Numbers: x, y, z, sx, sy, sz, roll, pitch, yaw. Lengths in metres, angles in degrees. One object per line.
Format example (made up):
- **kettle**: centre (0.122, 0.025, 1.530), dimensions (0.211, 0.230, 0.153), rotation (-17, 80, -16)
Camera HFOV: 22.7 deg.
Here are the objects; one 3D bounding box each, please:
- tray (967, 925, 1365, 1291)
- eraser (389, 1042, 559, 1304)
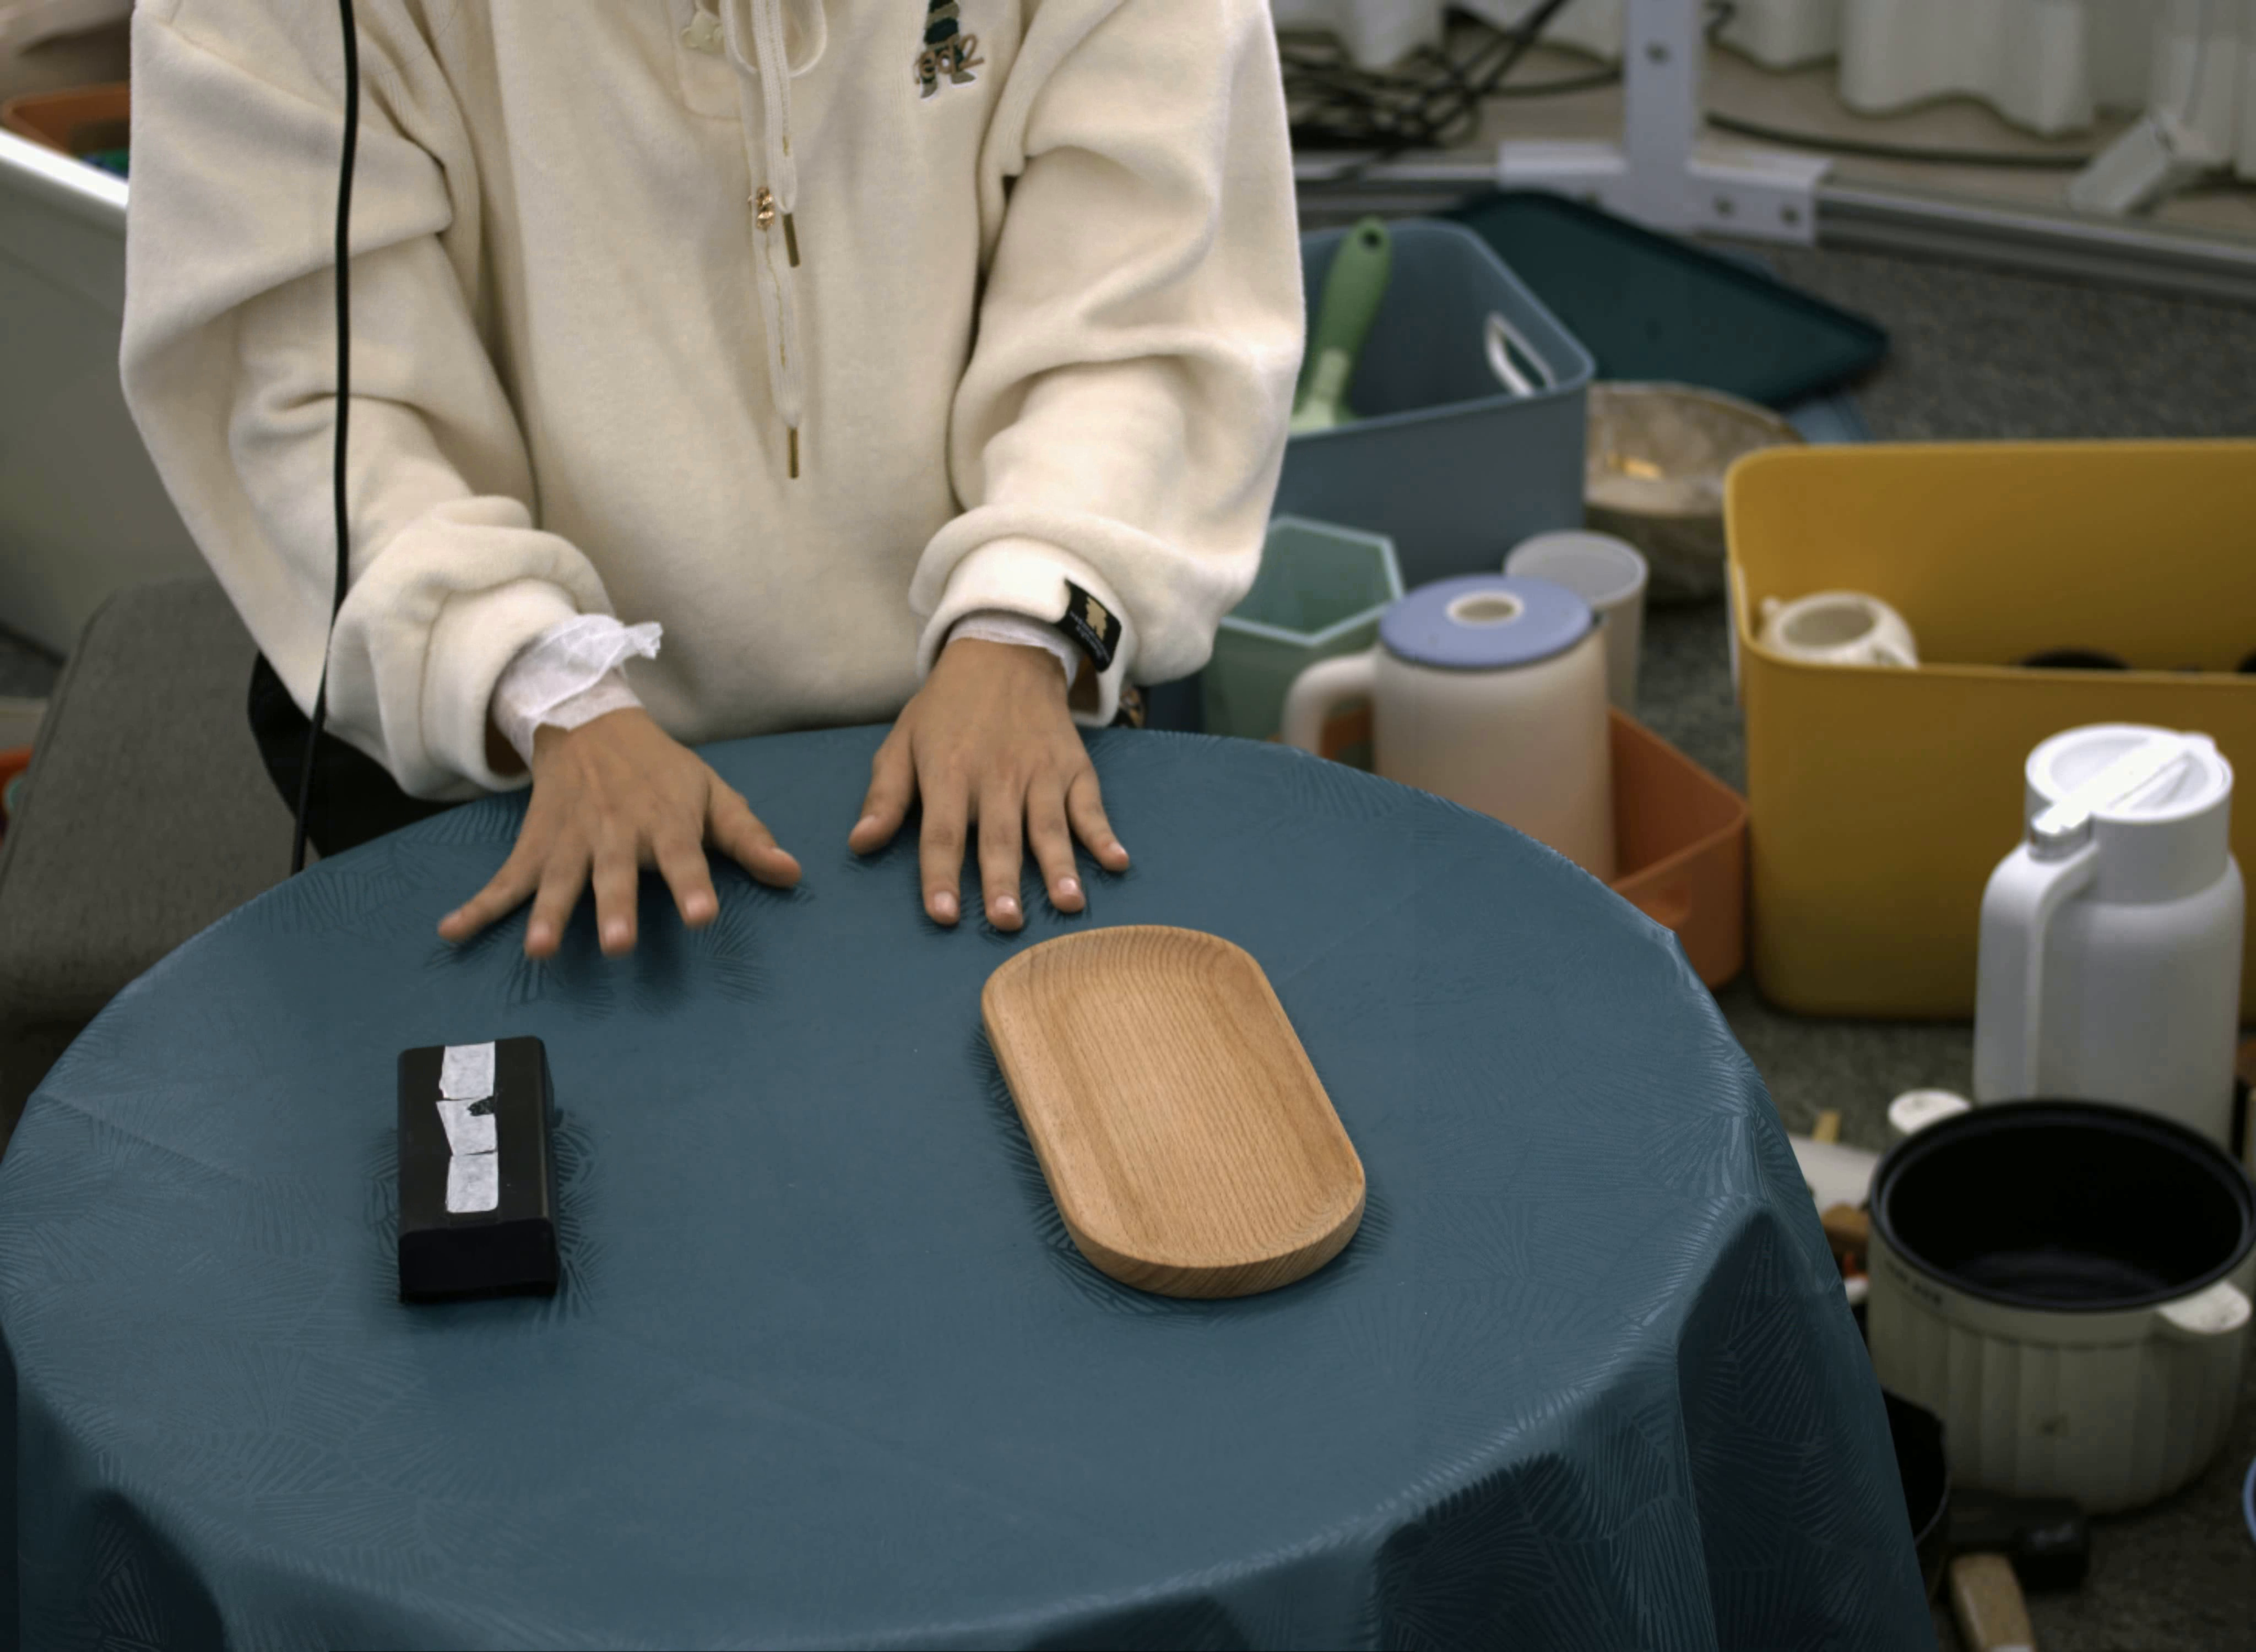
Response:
- **tray**: centre (0.011, 0.093, 1.898), dimensions (0.101, 0.020, 0.233), rotation (-9, 26, -12)
- **eraser**: centre (-0.218, 0.115, 1.864), dimensions (0.053, 0.030, 0.127), rotation (-1, 28, -8)
